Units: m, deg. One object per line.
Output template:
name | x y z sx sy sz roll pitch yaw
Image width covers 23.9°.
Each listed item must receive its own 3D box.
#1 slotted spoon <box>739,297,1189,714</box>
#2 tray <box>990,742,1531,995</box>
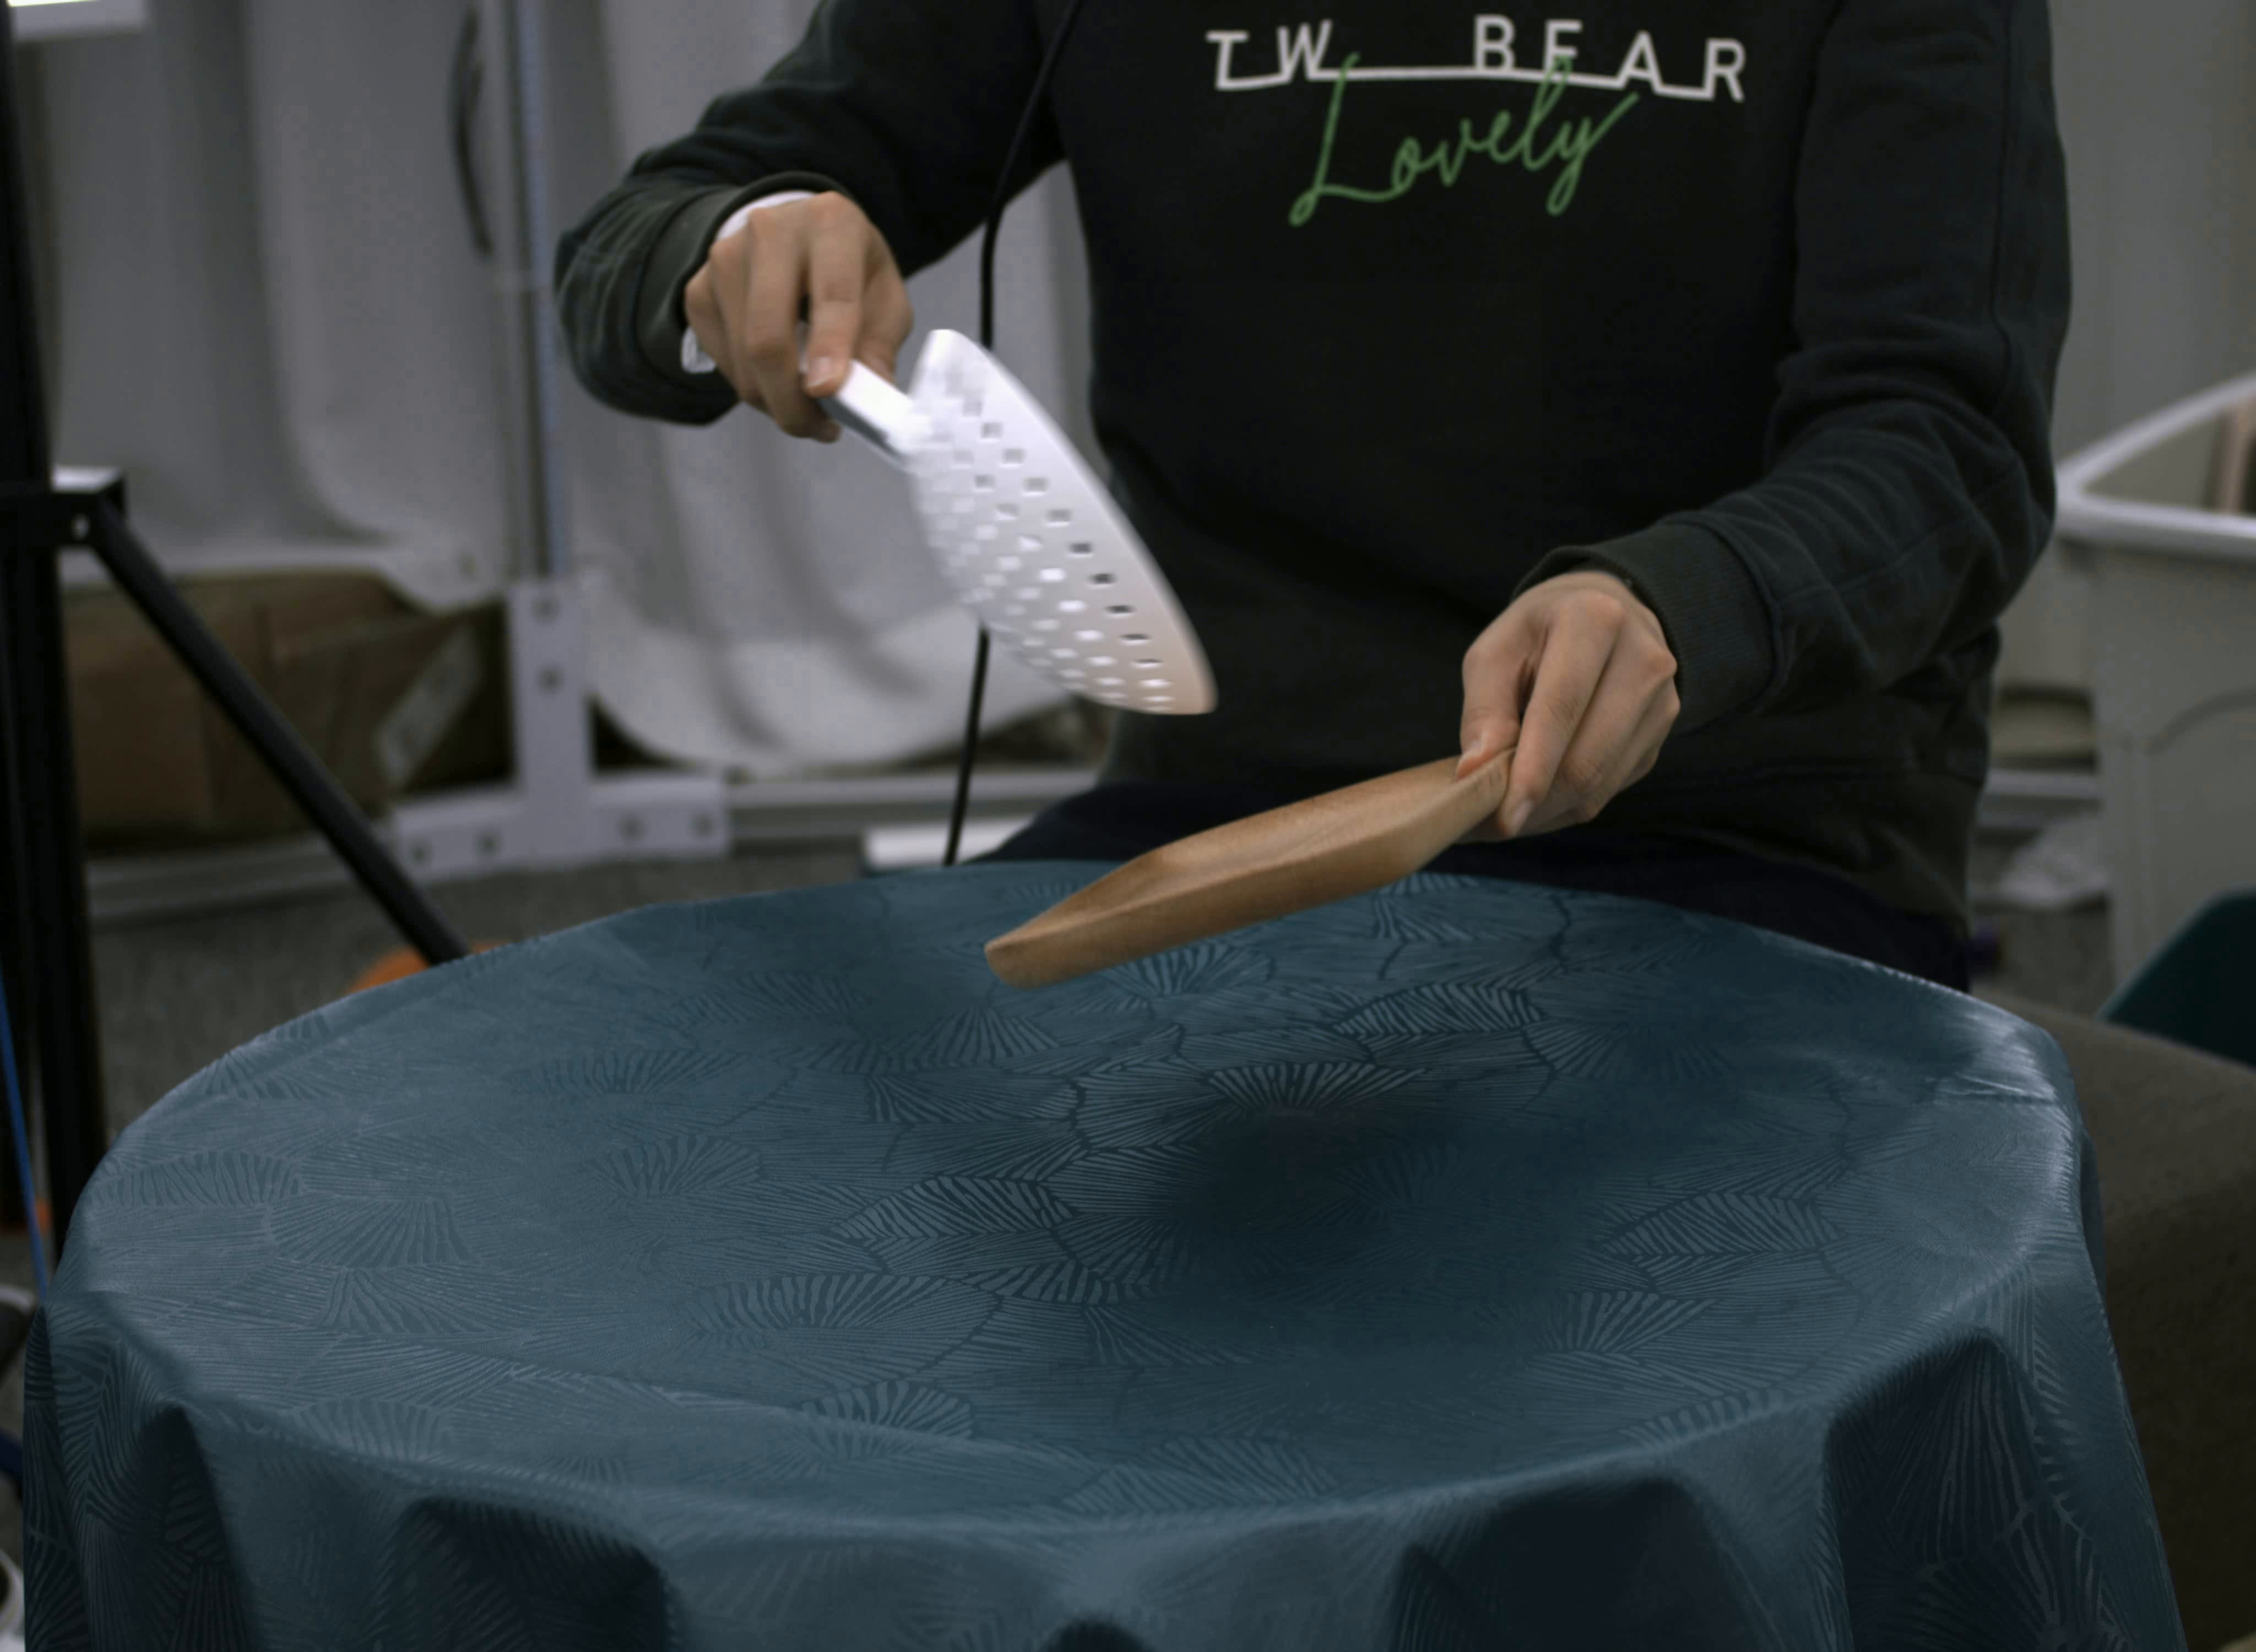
slotted spoon | -0.063 -0.118 1.655 0.045 0.134 0.355 -31 24 -4
tray | 0.044 0.011 1.537 0.131 0.023 0.248 -15 3 14
